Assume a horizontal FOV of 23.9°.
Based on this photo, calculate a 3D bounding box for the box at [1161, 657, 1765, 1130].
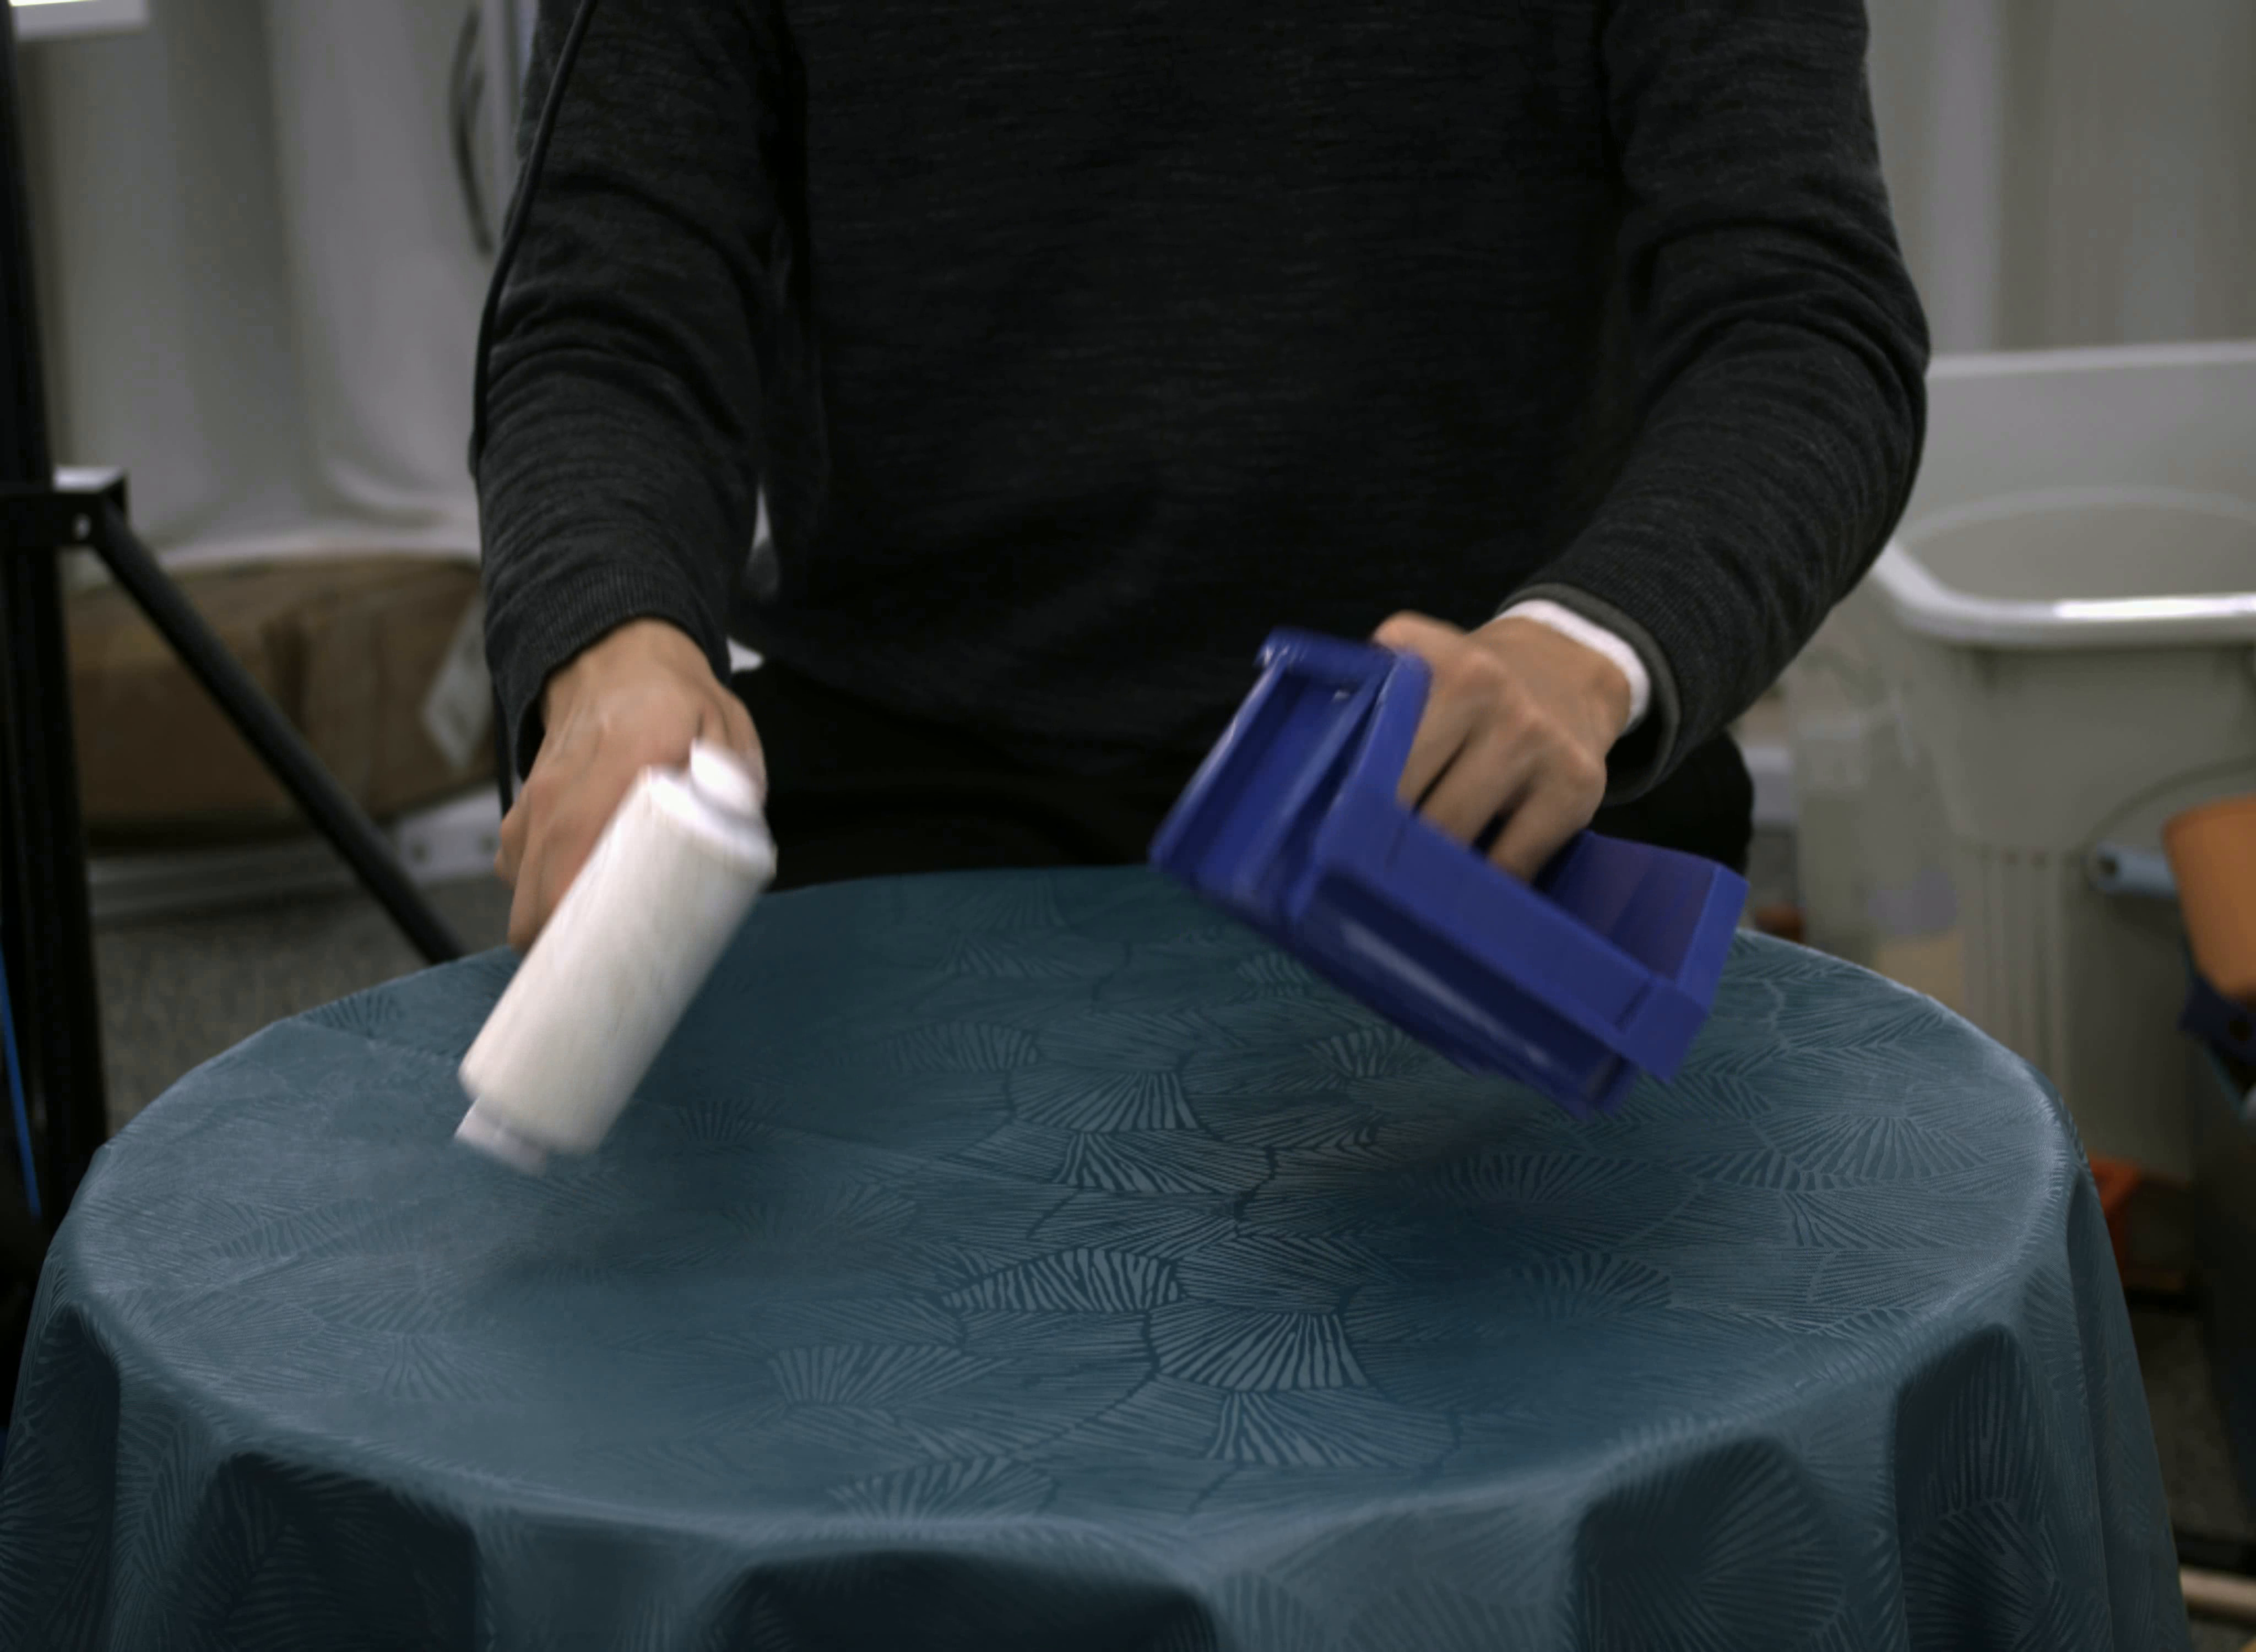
[{"bbox_3d":[0.095,0.019,1.494,0.123,0.082,0.181,32,-6,-11],"label":"box"}]

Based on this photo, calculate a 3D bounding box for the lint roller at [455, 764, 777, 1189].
[{"bbox_3d":[-0.157,0.021,1.573,0.049,0.133,0.183,30,13,-20],"label":"lint roller"}]
